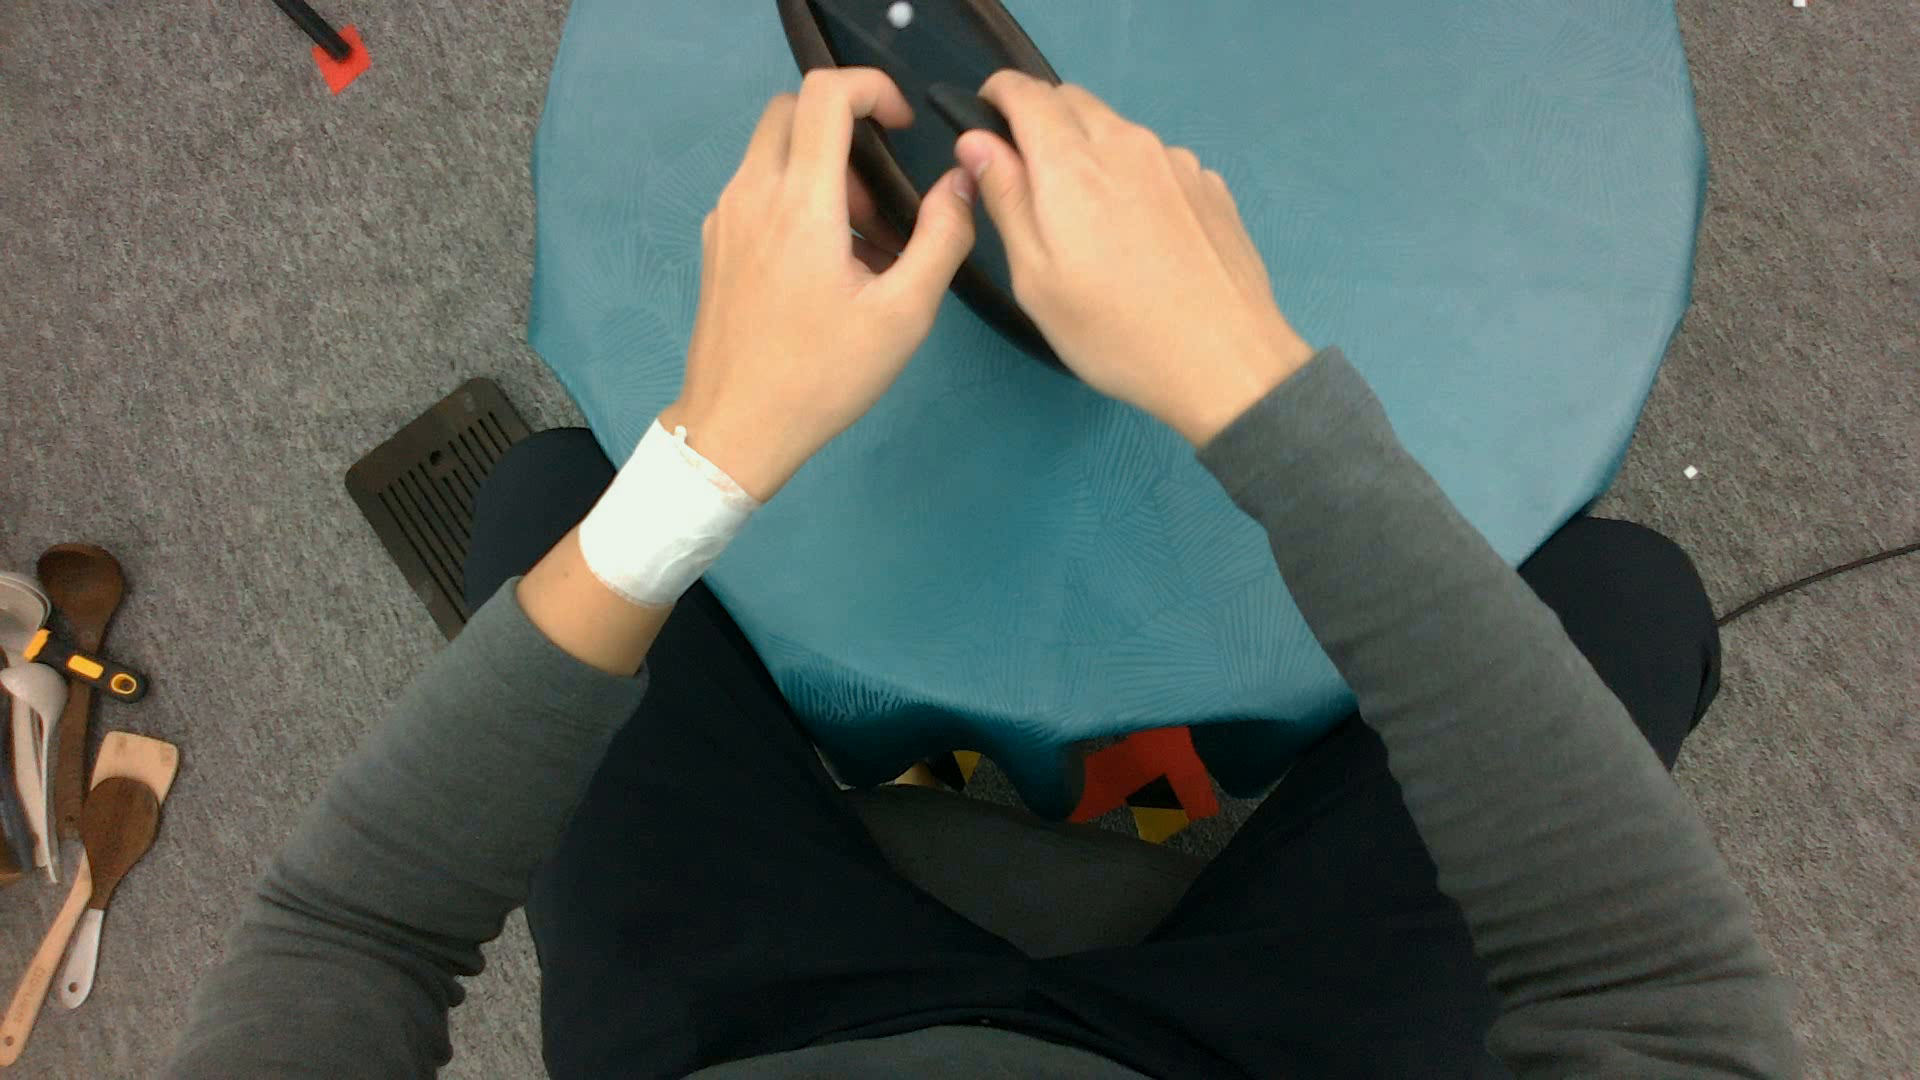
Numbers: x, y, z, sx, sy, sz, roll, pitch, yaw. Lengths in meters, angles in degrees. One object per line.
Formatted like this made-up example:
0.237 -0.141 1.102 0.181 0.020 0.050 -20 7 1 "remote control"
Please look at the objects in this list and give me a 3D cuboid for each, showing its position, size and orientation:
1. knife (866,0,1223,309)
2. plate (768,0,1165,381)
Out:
-0.014 -0.197 0.526 0.302 0.081 0.021 44 119 2 "knife"
0.008 -0.177 0.608 0.029 0.255 0.255 -33 78 26 "plate"
